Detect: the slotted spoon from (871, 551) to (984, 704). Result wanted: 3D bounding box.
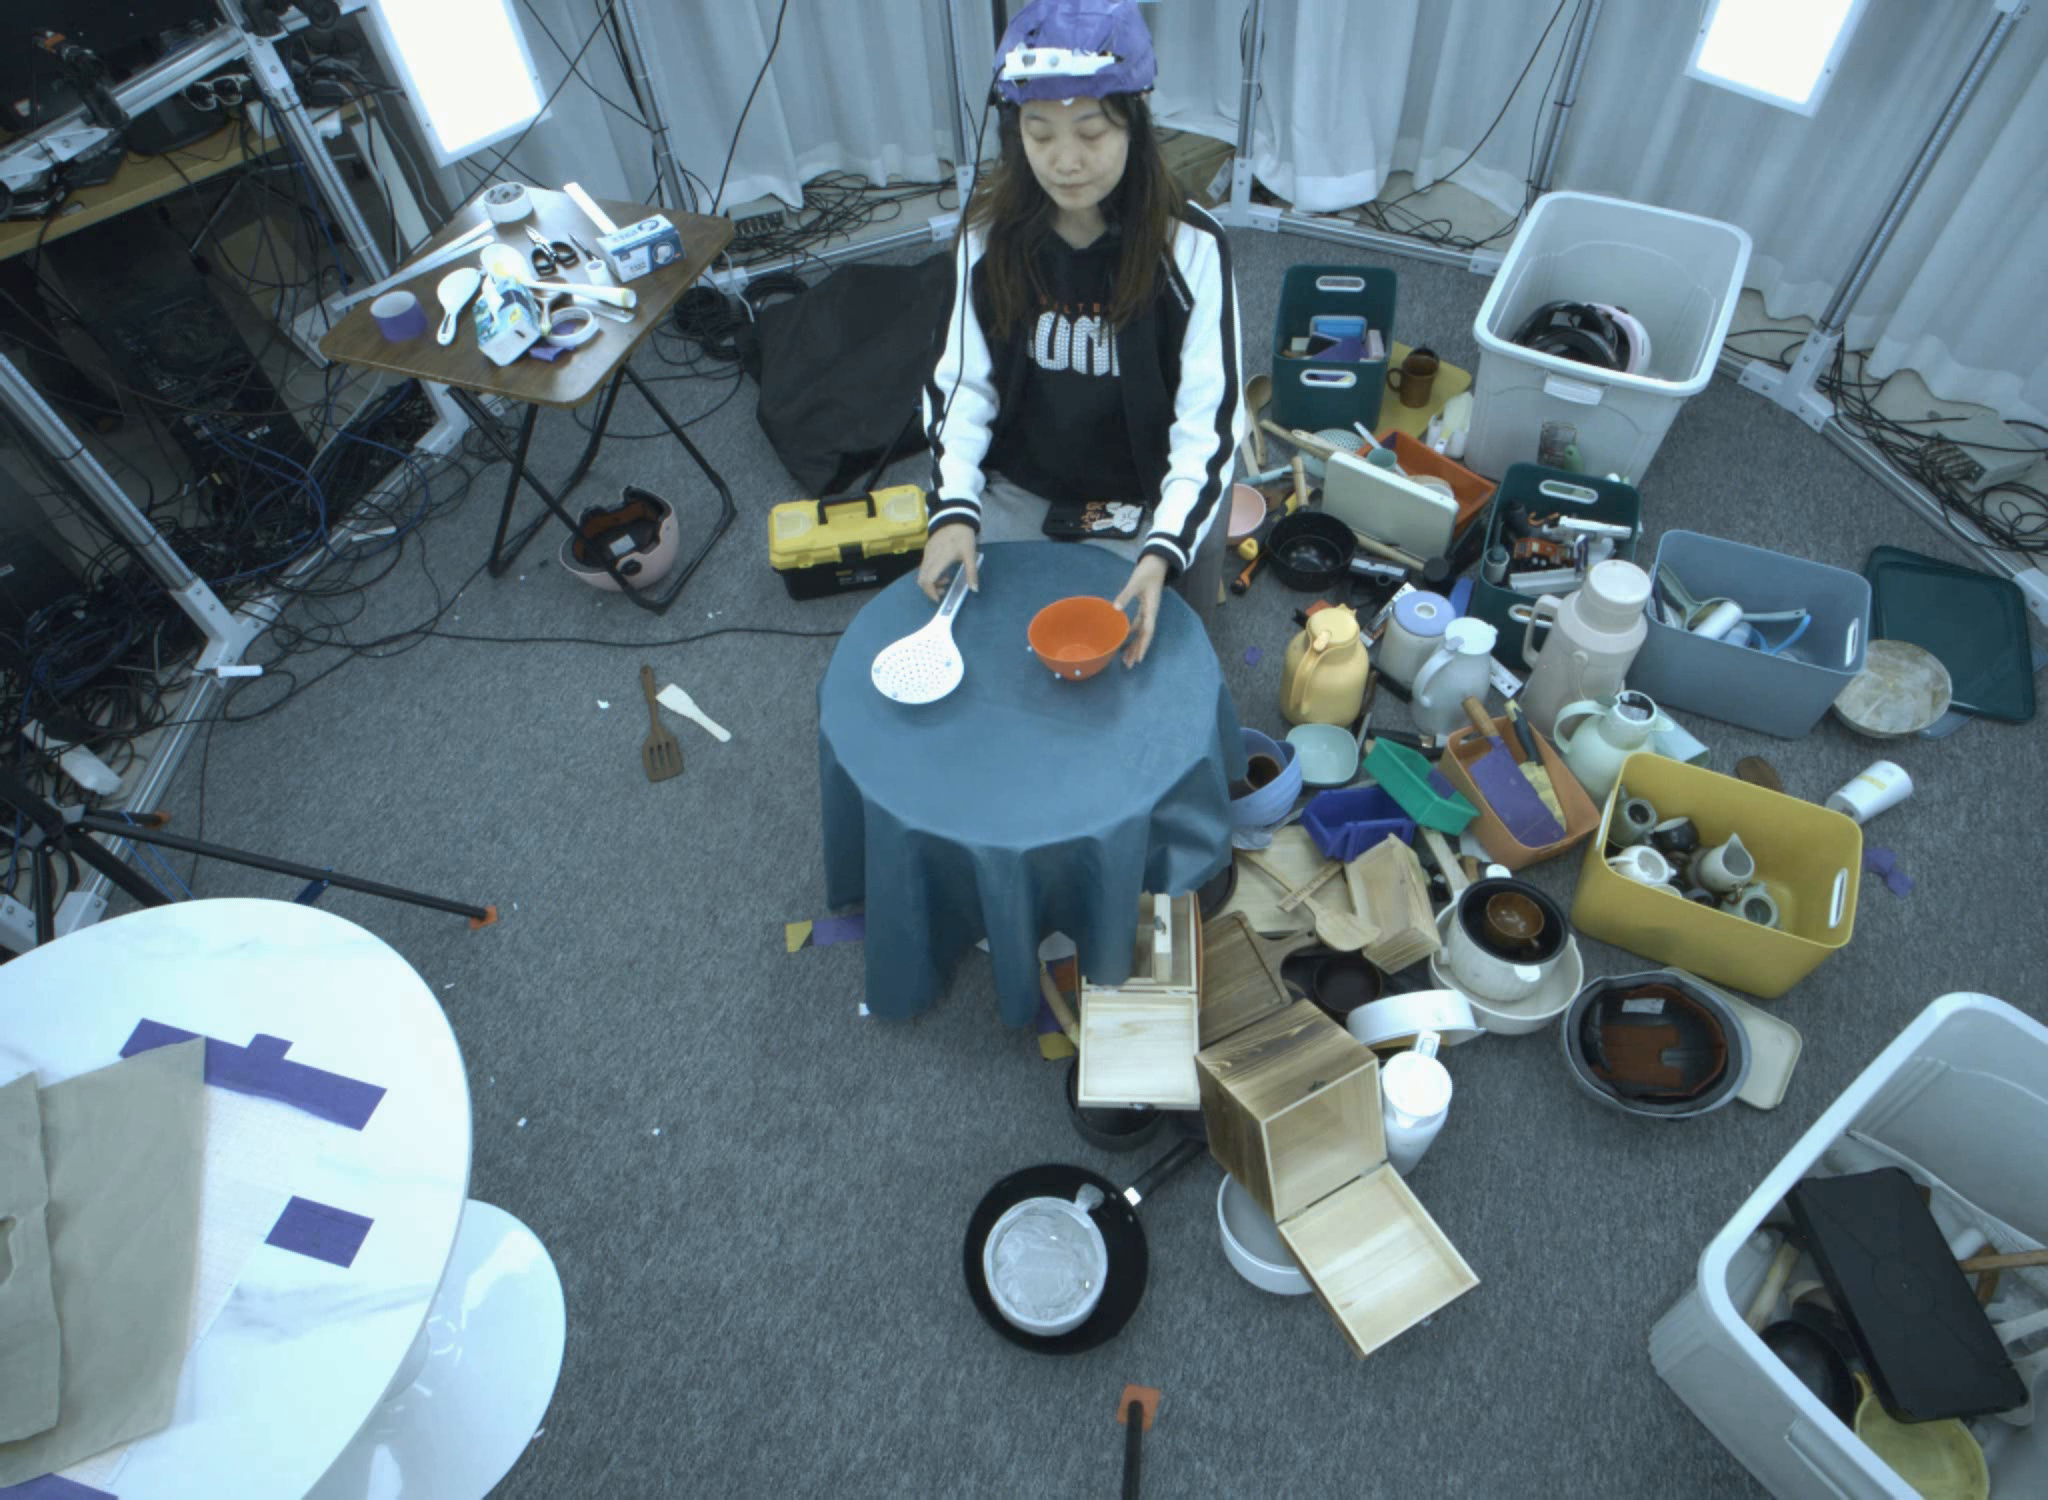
[{"bbox_3d":[-0.129,-0.194,1.902,0.135,0.046,0.348,13,56,10],"label":"slotted spoon"}]

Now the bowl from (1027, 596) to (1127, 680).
[{"bbox_3d":[0.081,-0.153,1.832,0.148,0.106,0.146,-2,54,4],"label":"bowl"}]
